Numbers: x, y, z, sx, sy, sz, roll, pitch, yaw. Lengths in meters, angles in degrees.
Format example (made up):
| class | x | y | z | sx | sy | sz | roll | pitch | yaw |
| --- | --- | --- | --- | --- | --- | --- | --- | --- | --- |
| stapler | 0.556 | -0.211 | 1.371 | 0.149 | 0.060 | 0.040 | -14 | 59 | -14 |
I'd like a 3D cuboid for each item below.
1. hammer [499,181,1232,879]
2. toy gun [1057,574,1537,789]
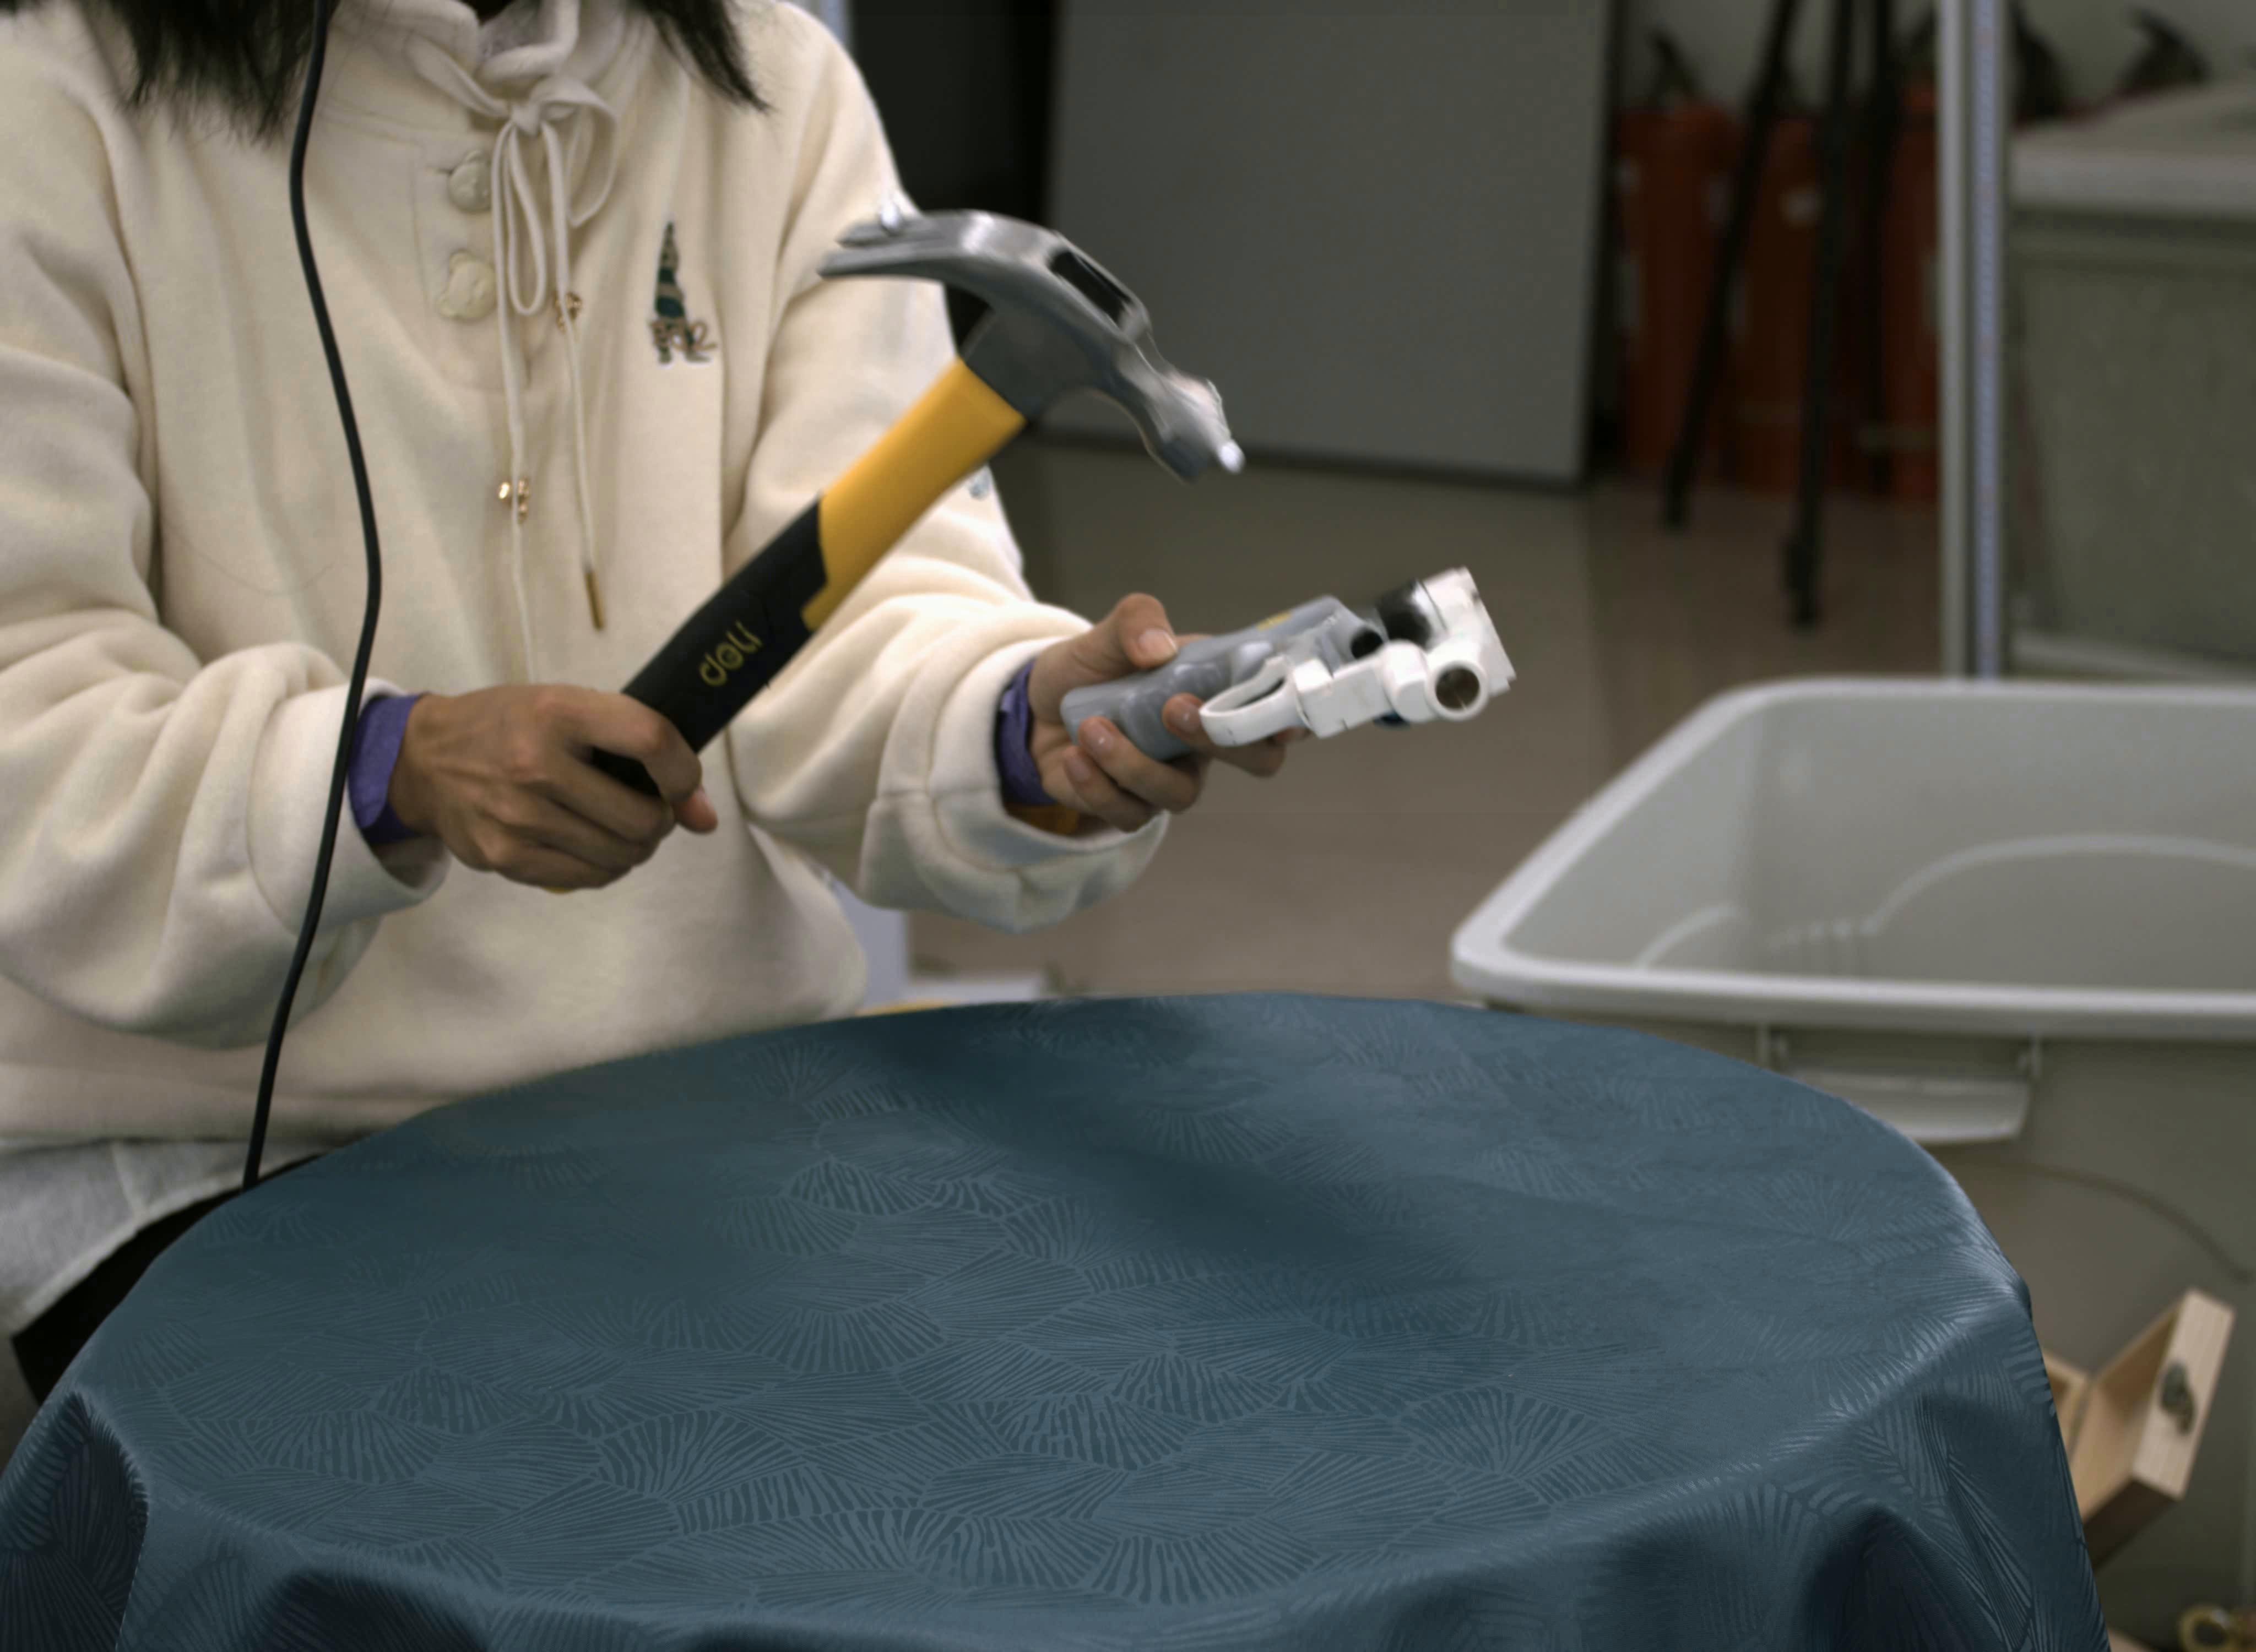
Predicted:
| class | x | y | z | sx | sy | sz | roll | pitch | yaw |
| --- | --- | --- | --- | --- | --- | --- | --- | --- | --- |
| hammer | -0.110 | -0.086 | 1.769 | 0.342 | 0.130 | 0.032 | -44 | 9 | 40 |
| toy gun | 0.051 | -0.043 | 1.716 | 0.140 | 0.039 | 0.209 | -22 | 9 | -1 |
